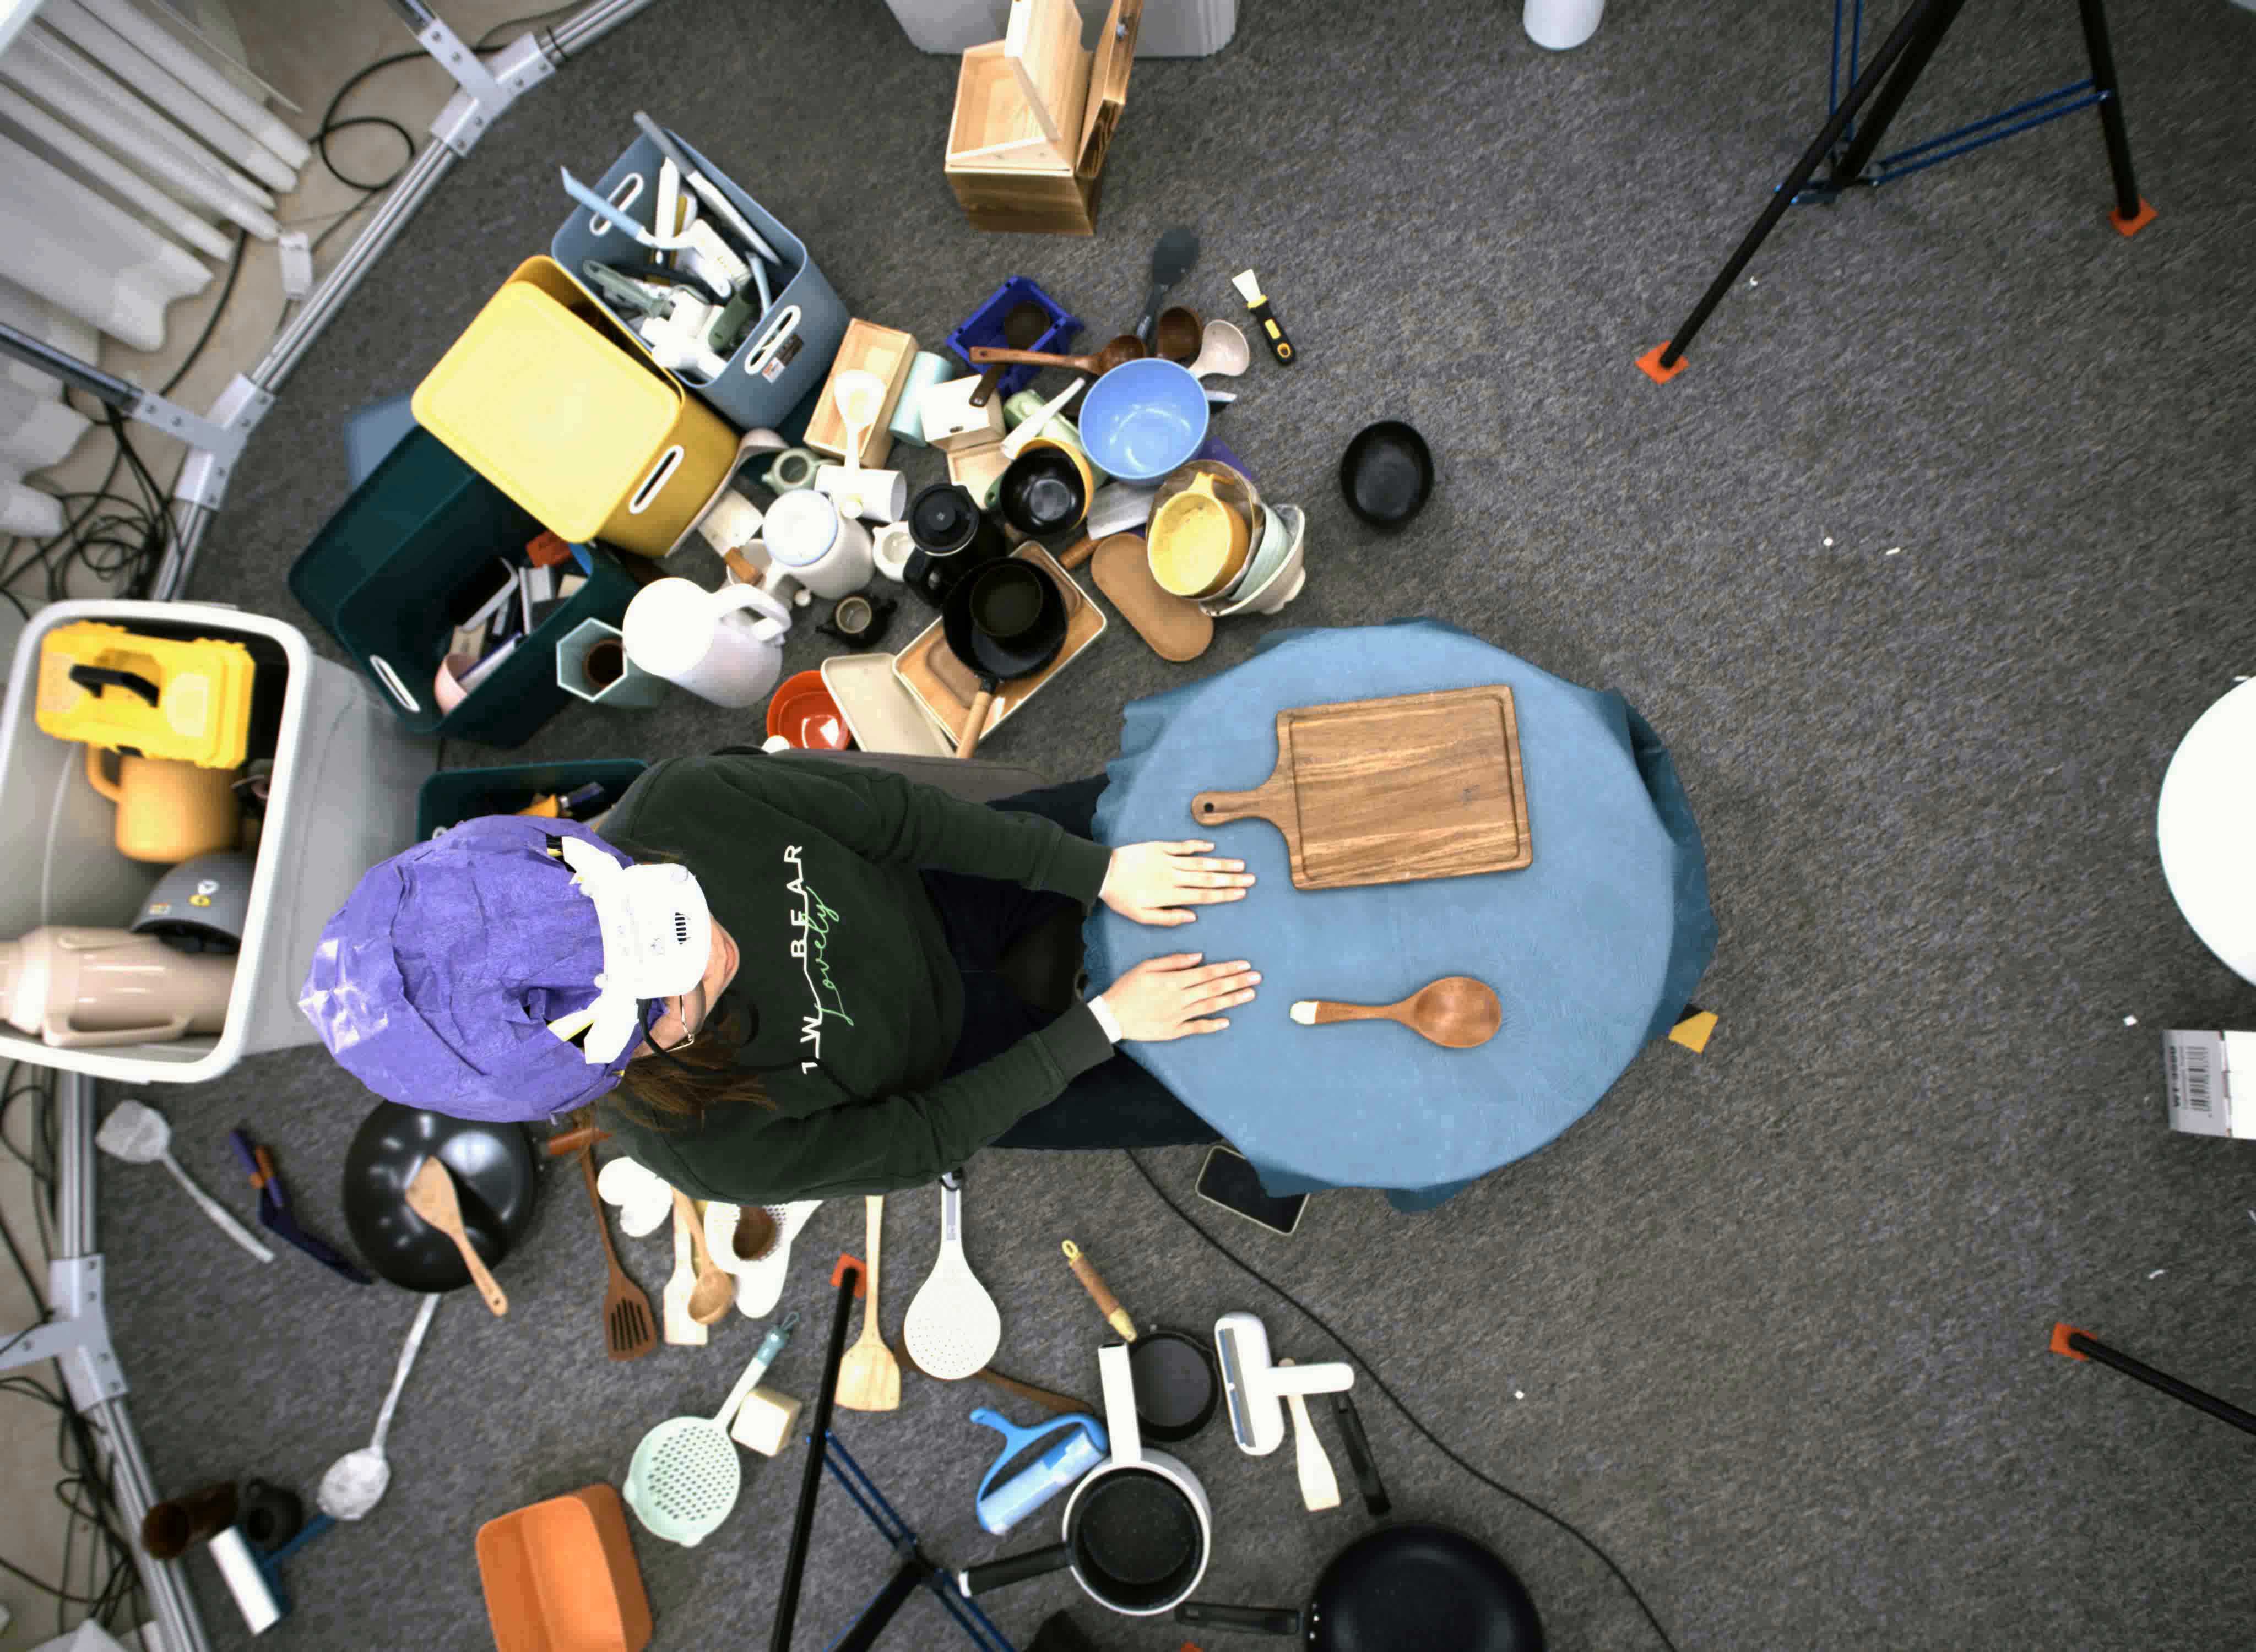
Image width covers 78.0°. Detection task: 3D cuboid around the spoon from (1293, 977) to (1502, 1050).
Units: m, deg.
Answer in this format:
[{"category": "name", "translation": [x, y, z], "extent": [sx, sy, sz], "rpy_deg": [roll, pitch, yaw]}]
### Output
[{"category": "spoon", "translation": [0.281, 0.194, 1.445], "extent": [0.217, 0.017, 0.075], "rpy_deg": [-2, 87, 10]}]

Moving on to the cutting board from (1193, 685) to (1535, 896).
[{"category": "cutting board", "translation": [0.244, -0.033, 1.468], "extent": [0.354, 0.023, 0.200], "rpy_deg": [-6, 86, 10]}]
